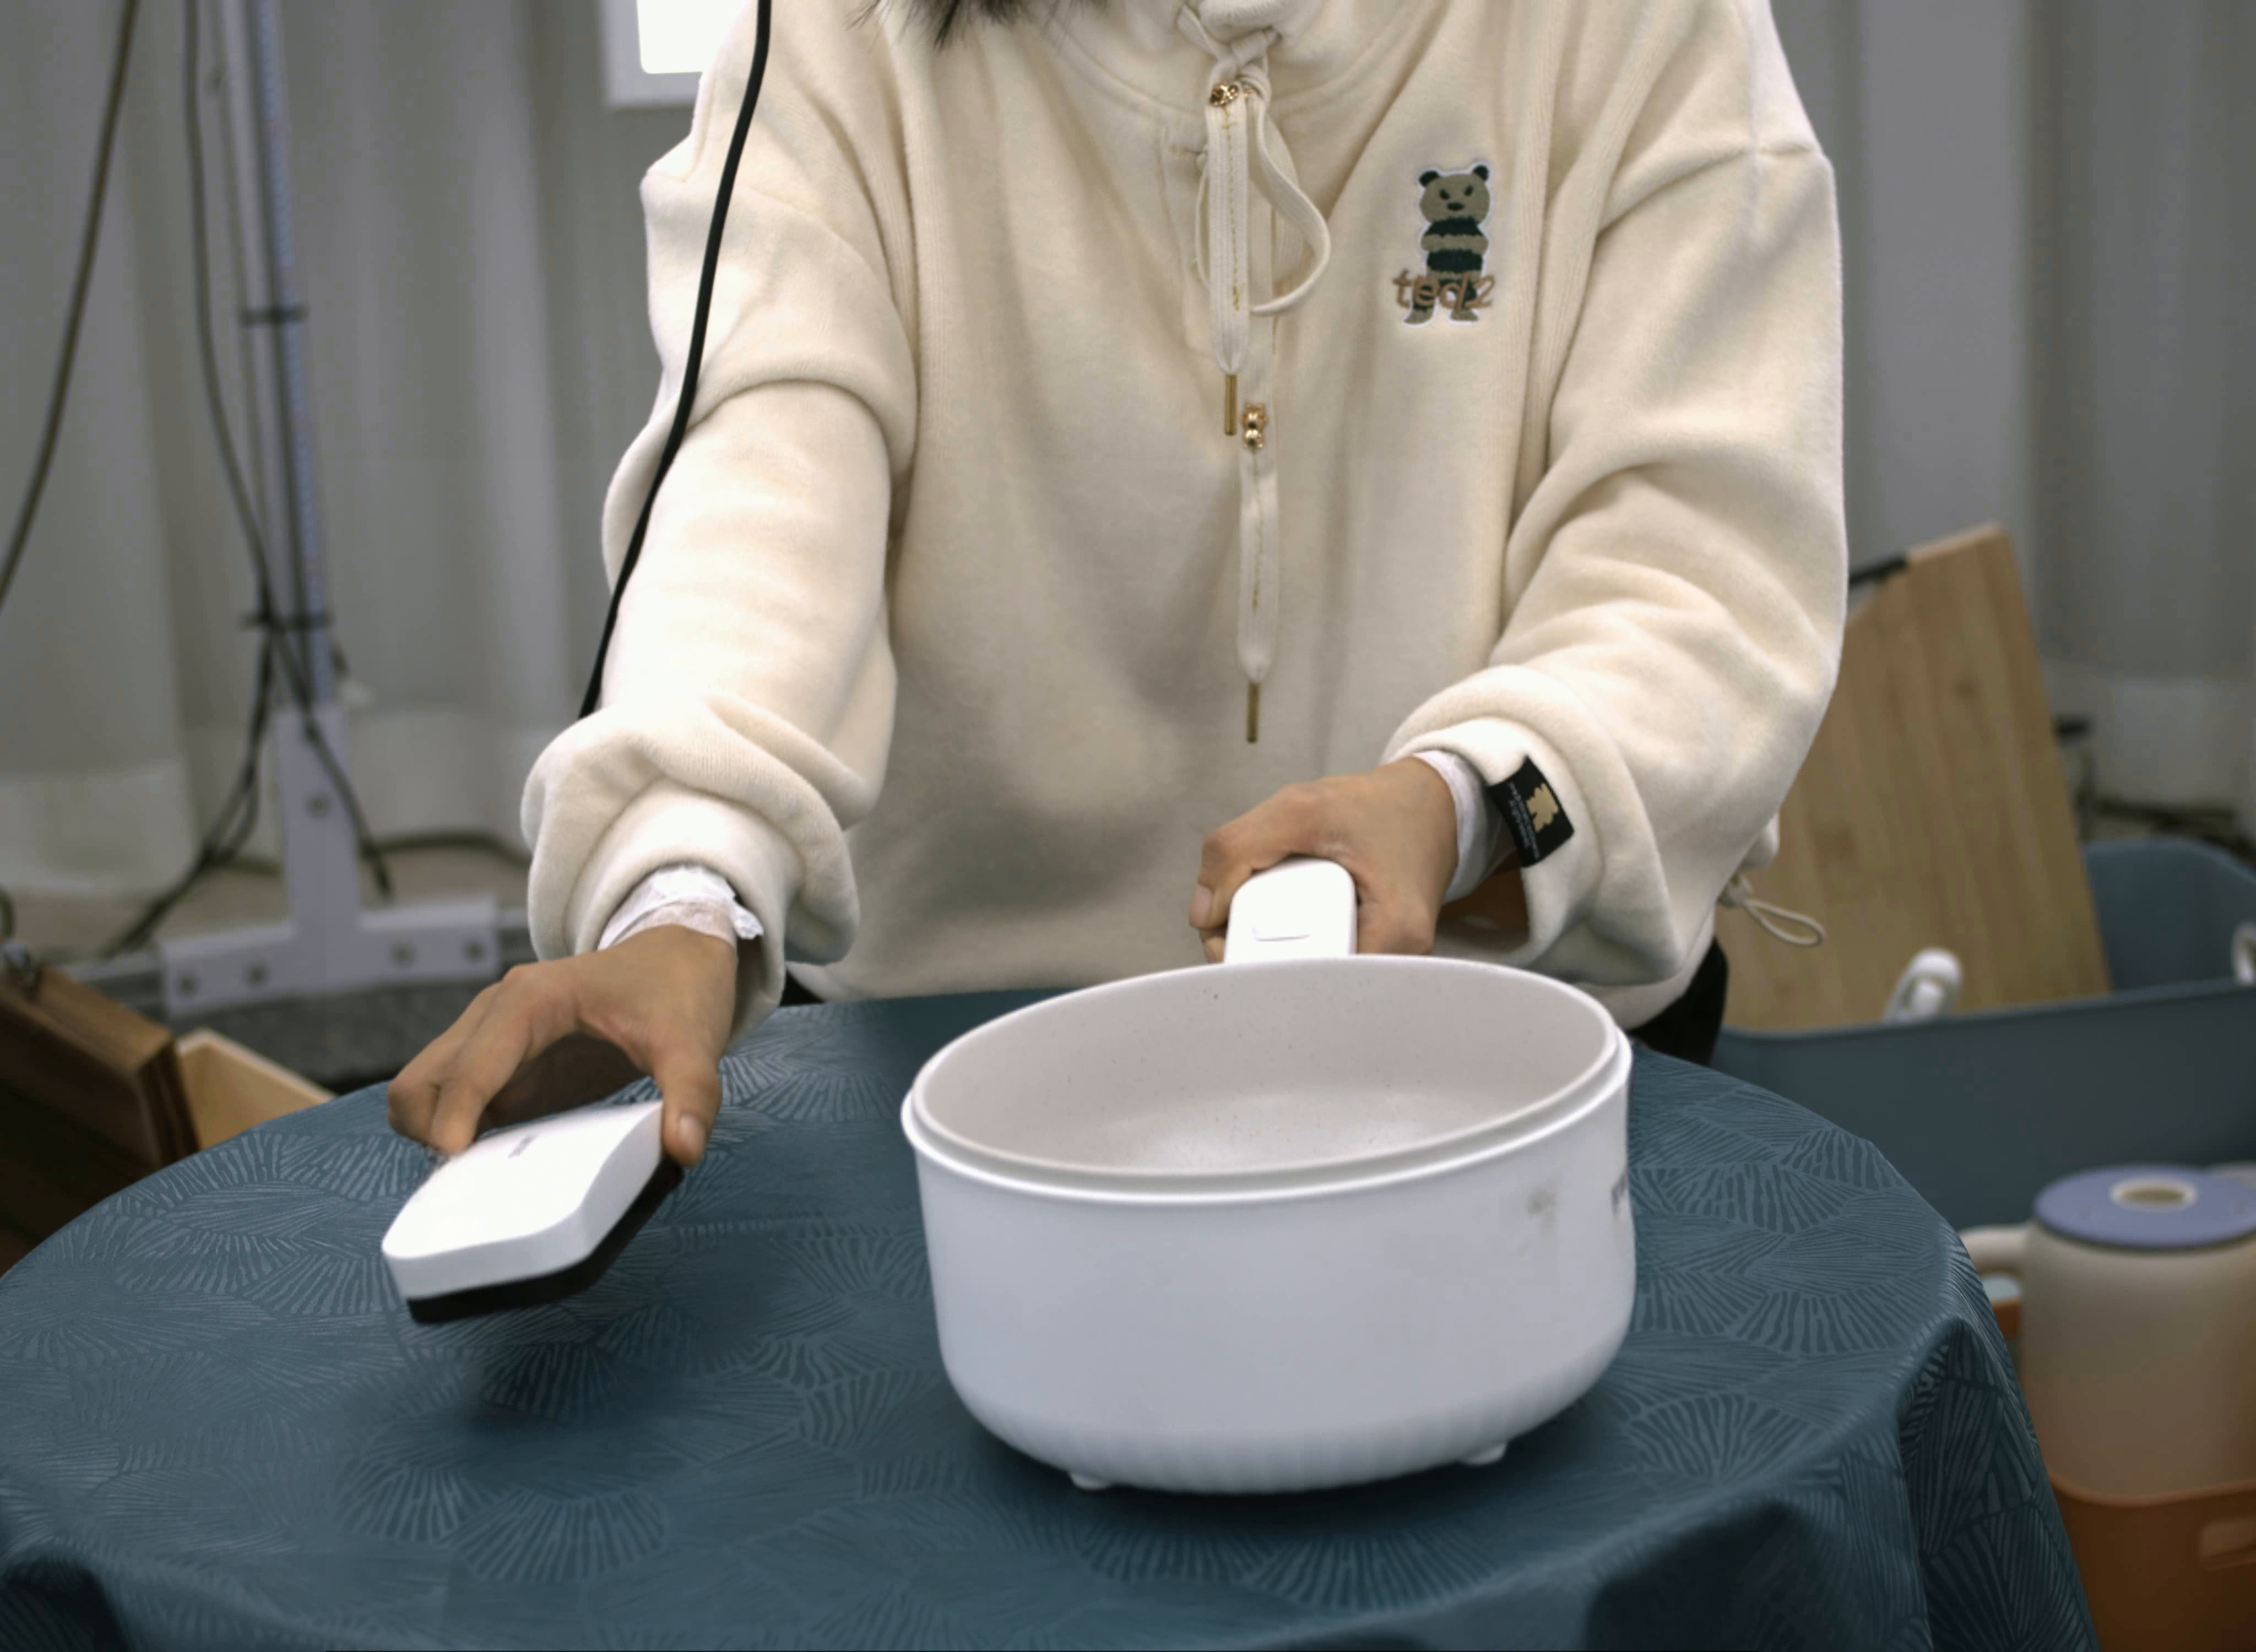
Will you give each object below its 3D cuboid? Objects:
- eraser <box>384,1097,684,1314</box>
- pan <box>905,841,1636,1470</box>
[{"bbox_3d":[-0.168,0.106,1.583,0.063,0.034,0.132,-10,11,13],"label":"eraser"},{"bbox_3d":[0.046,0.090,1.583,0.200,0.102,0.356,-2,12,5],"label":"pan"}]
